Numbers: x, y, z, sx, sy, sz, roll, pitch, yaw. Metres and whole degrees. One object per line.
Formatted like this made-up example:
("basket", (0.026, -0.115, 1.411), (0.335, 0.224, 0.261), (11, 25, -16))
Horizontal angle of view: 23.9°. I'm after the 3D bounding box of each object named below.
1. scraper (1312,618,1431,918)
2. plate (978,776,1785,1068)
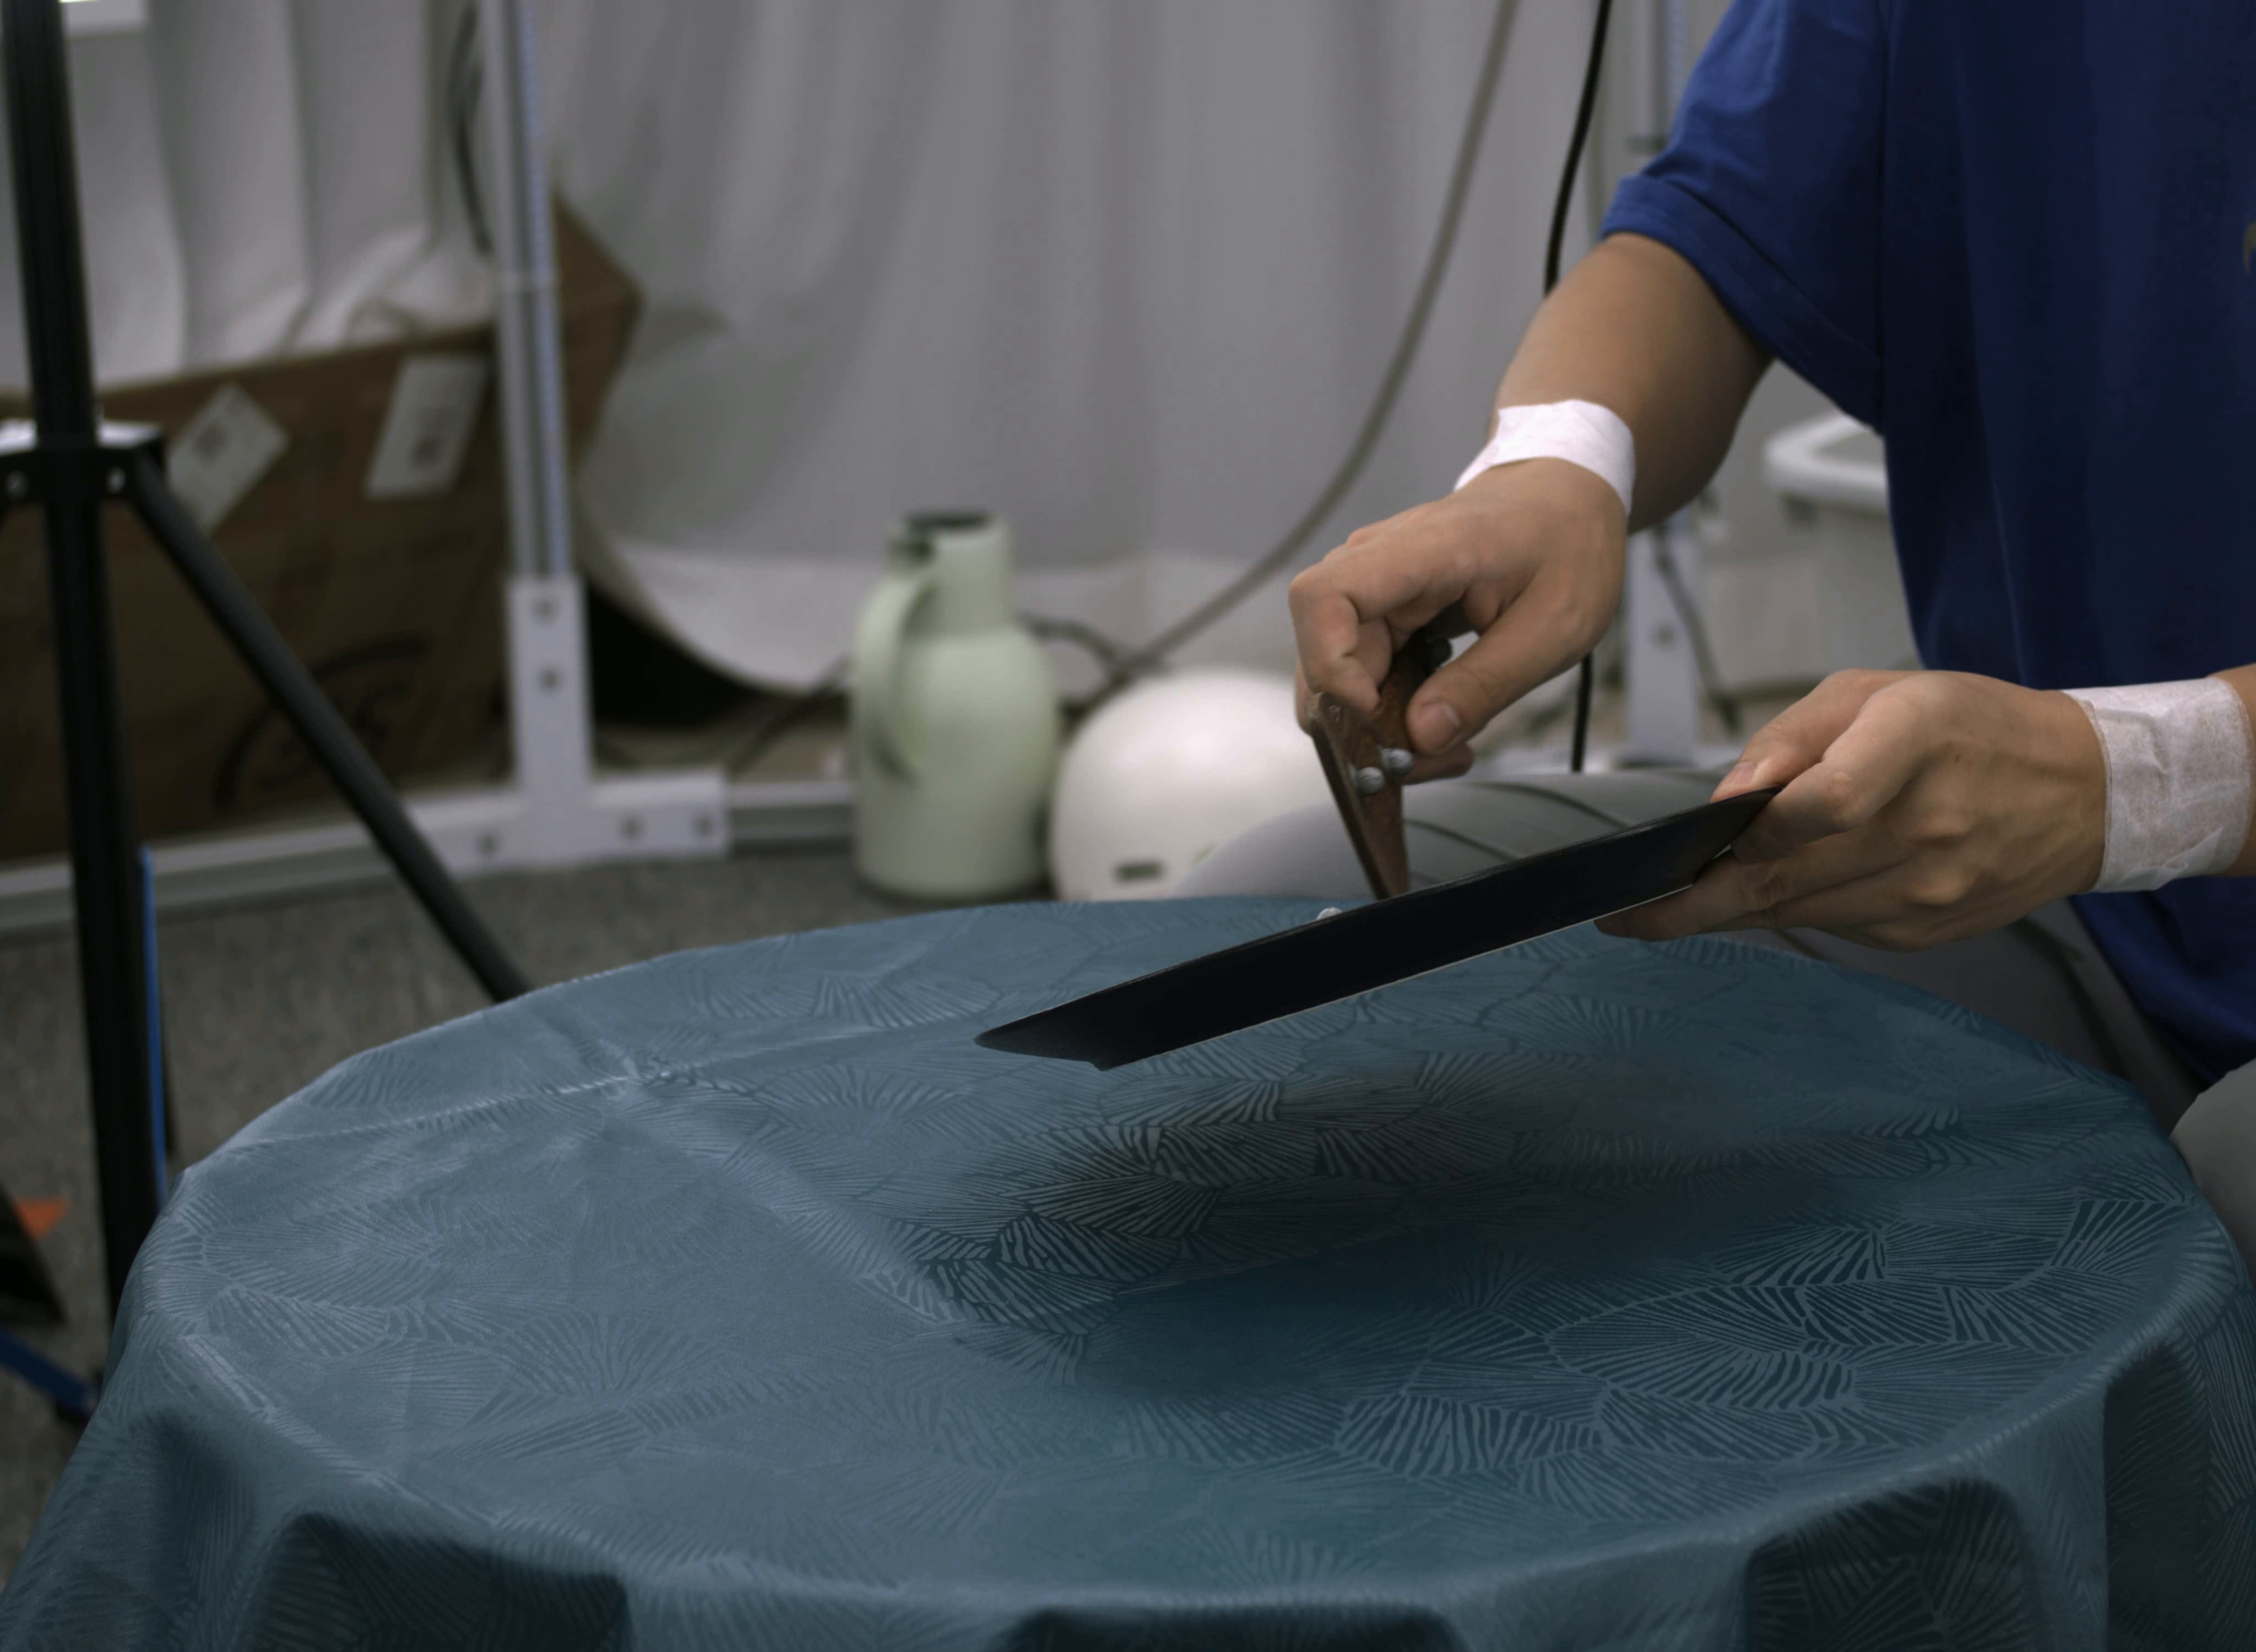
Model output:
("scraper", (0.077, -0.025, 1.604), (0.011, 0.075, 0.210), (-16, 13, 13))
("plate", (0.075, 0.033, 1.528), (0.243, 0.023, 0.244), (-17, -2, -2))
